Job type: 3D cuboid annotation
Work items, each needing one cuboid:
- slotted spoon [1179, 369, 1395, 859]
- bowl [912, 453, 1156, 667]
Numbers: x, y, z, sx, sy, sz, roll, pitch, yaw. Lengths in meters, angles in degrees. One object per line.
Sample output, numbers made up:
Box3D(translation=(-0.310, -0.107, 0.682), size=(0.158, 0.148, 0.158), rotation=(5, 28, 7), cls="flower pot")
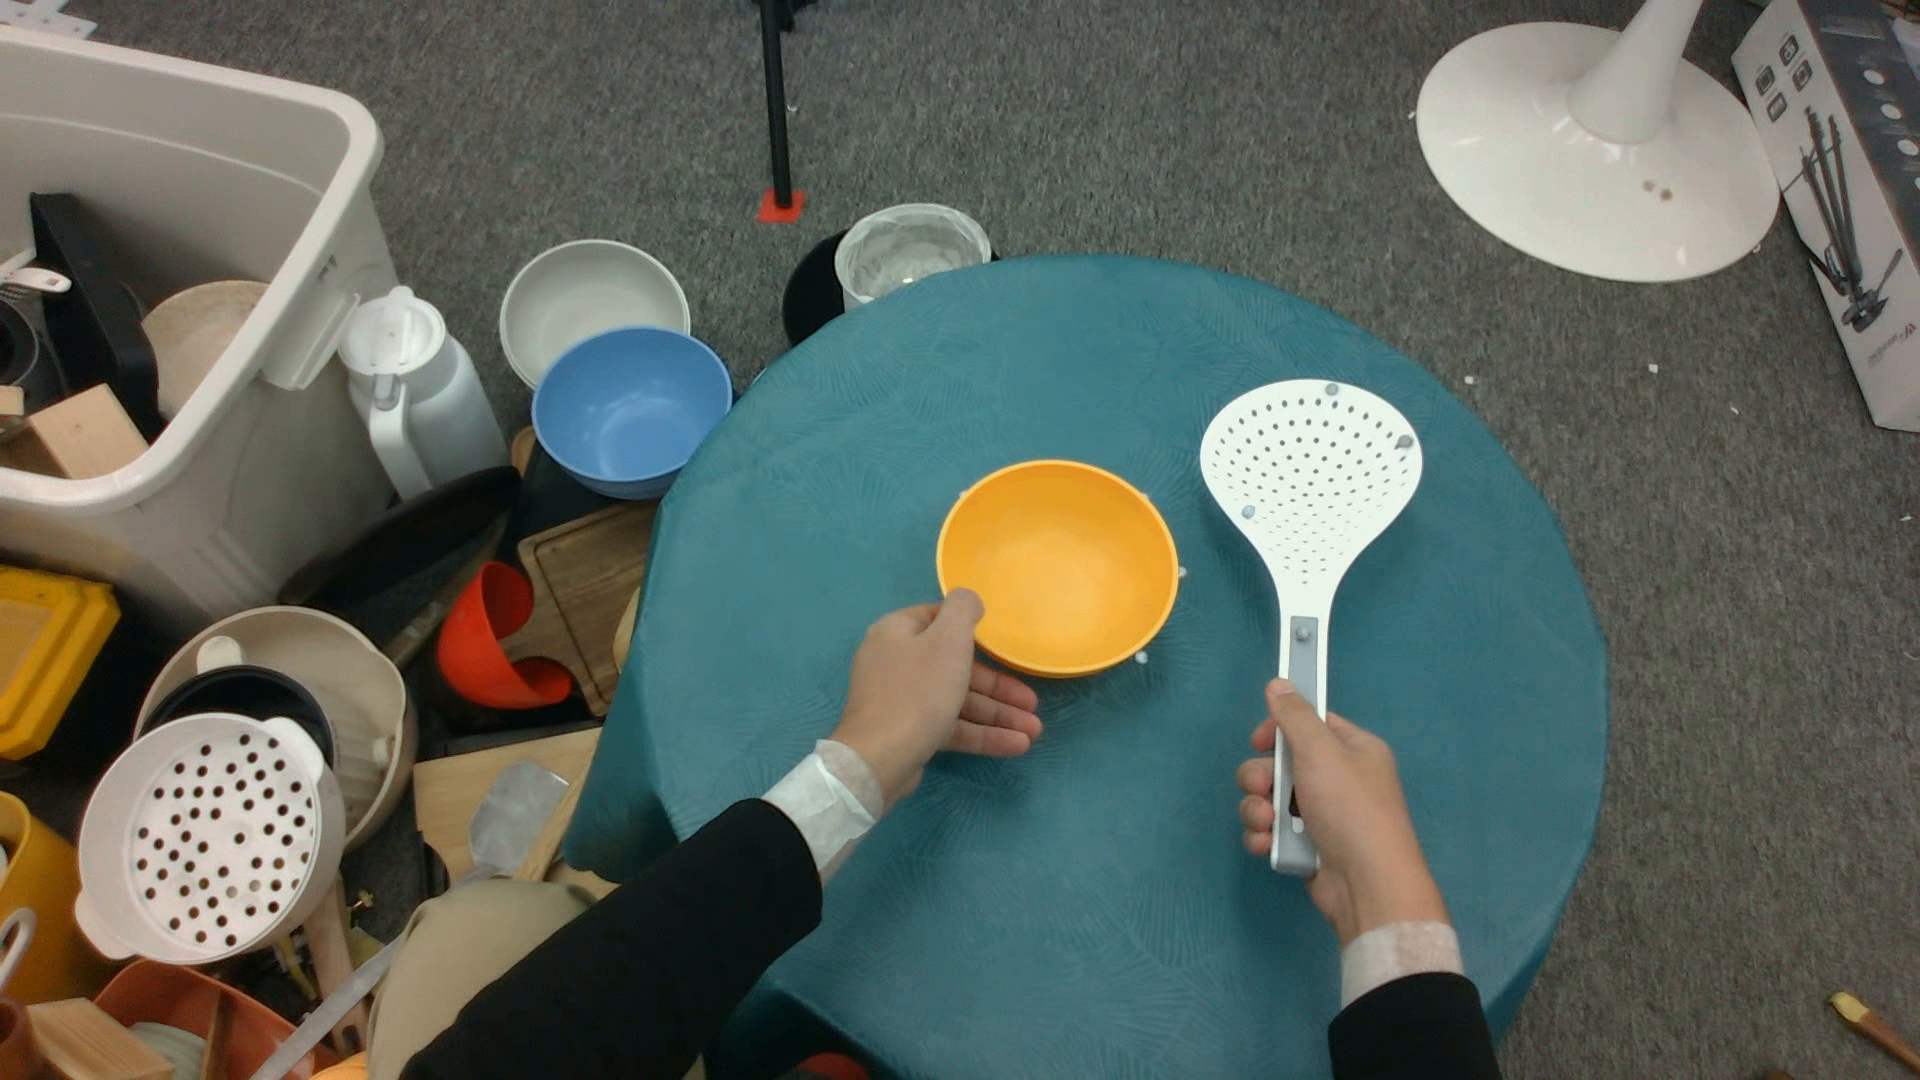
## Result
Box3D(translation=(0.192, 0.028, 0.822), size=(0.136, 0.045, 0.351), rotation=(4, 47, 11), cls="slotted spoon")
Box3D(translation=(0.043, 0.022, 0.837), size=(0.145, 0.060, 0.146), rotation=(1, 58, -2), cls="bowl")
